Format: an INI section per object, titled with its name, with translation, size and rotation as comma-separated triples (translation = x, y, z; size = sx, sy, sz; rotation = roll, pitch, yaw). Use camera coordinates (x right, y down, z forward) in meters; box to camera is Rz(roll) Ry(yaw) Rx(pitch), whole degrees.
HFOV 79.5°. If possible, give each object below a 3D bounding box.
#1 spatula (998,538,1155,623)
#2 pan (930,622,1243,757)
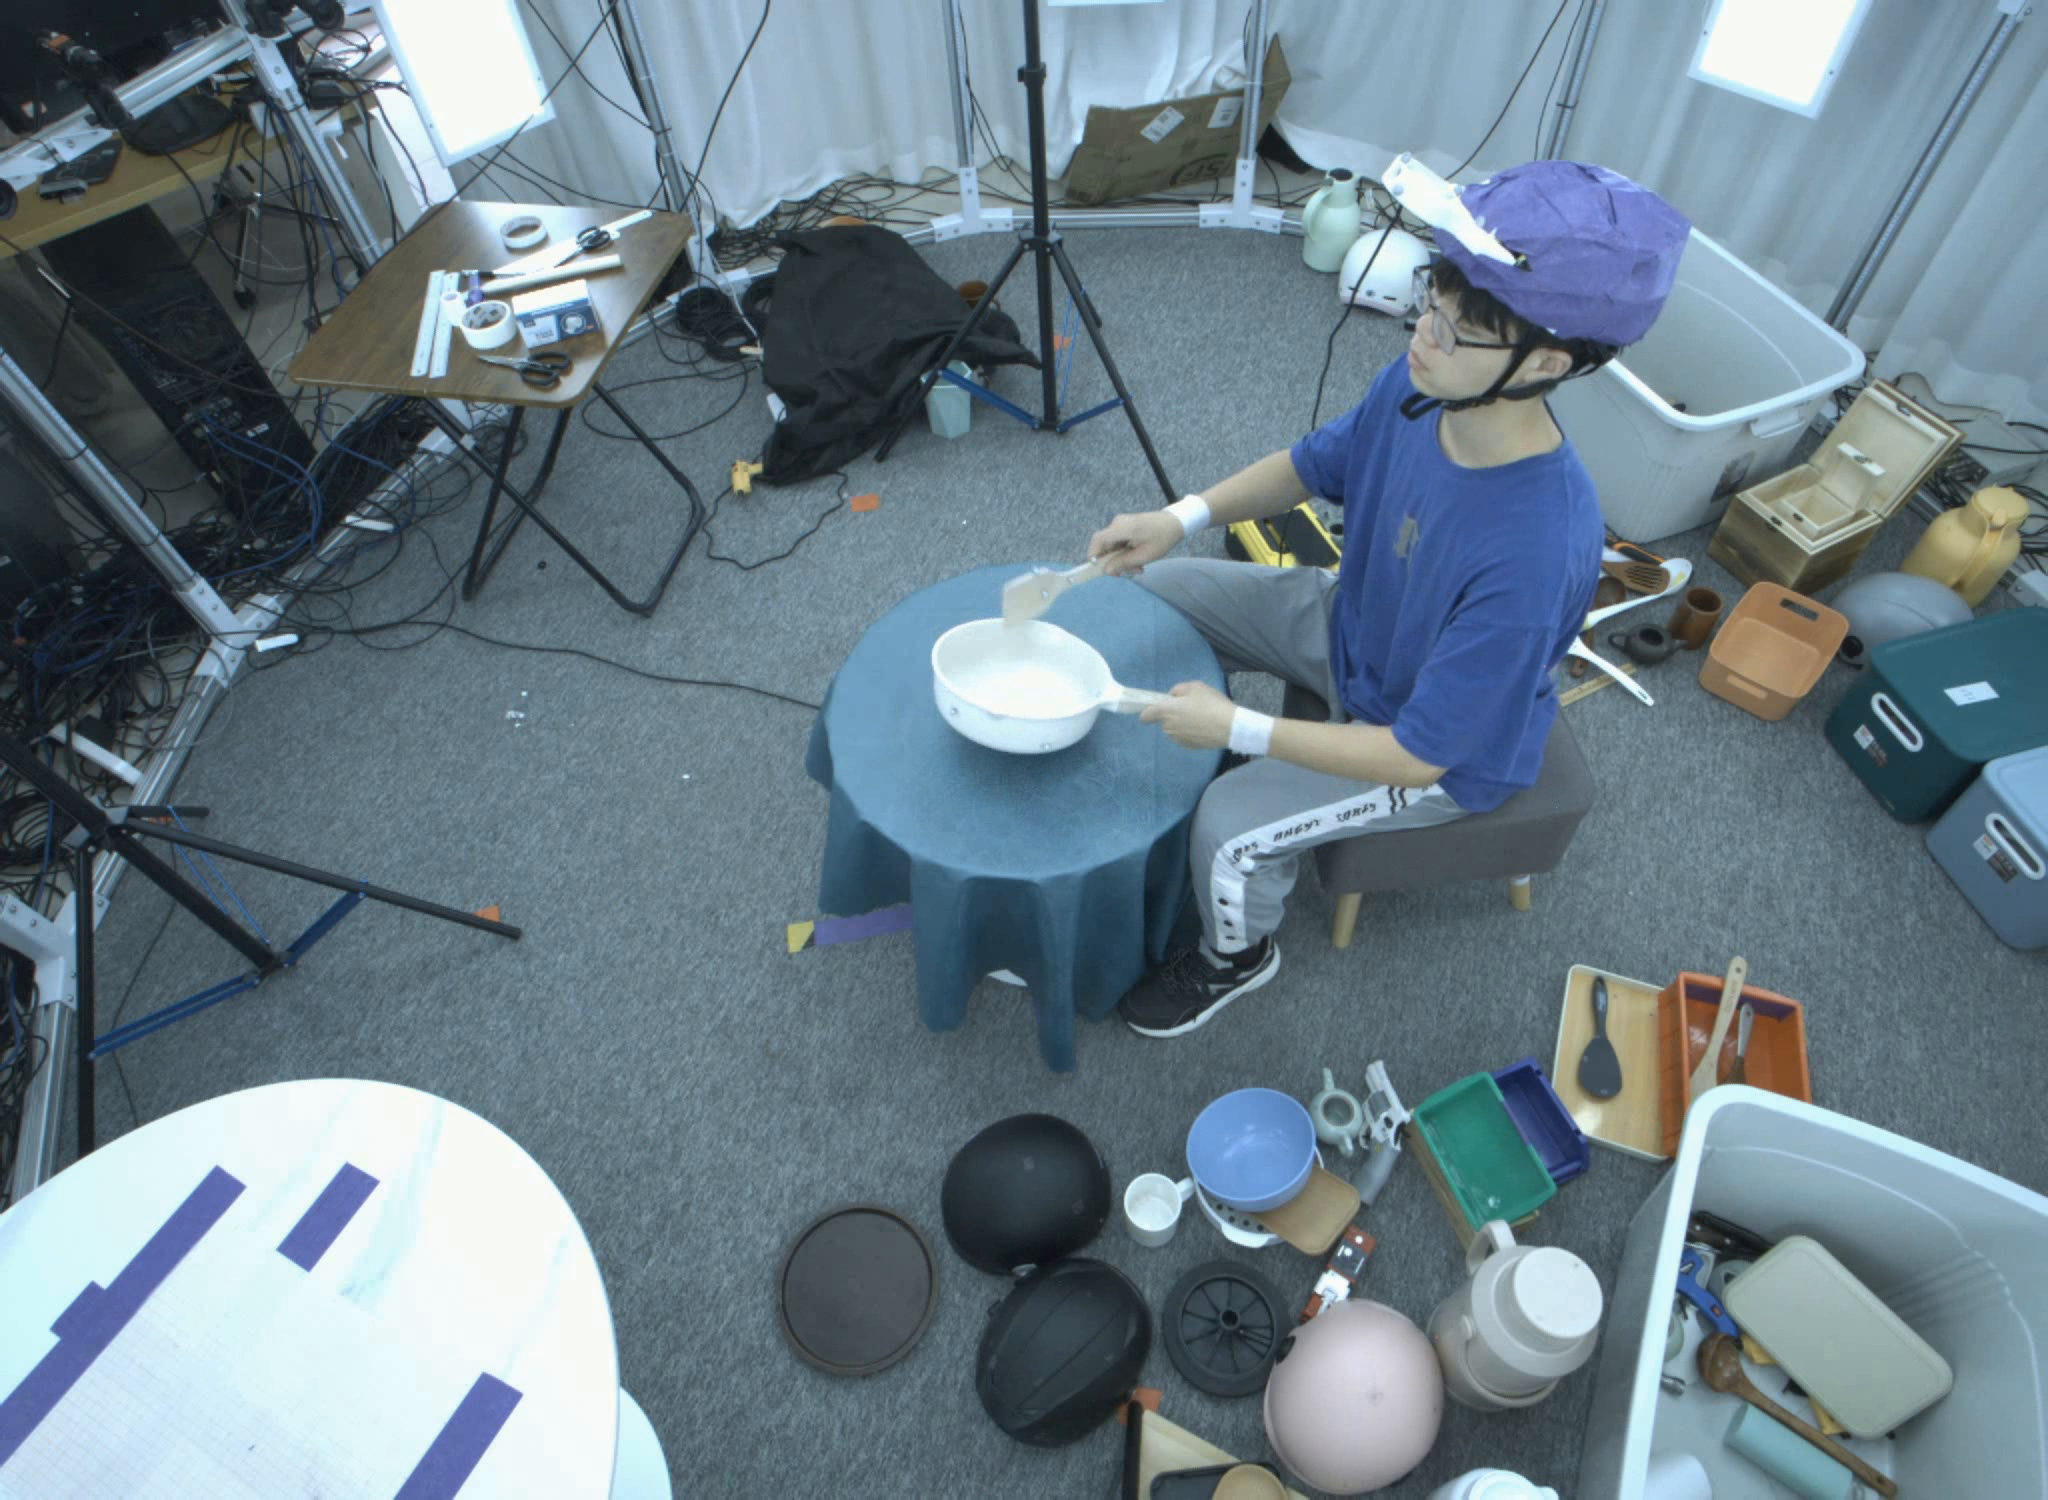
[spatula]
translation = 0.078, -0.253, 1.736
size = 0.297, 0.073, 0.010
rotation = -24, 43, -32
[pan]
translation = 0.078, -0.062, 1.700
size = 0.433, 0.102, 0.263
rotation = 16, 34, 5
